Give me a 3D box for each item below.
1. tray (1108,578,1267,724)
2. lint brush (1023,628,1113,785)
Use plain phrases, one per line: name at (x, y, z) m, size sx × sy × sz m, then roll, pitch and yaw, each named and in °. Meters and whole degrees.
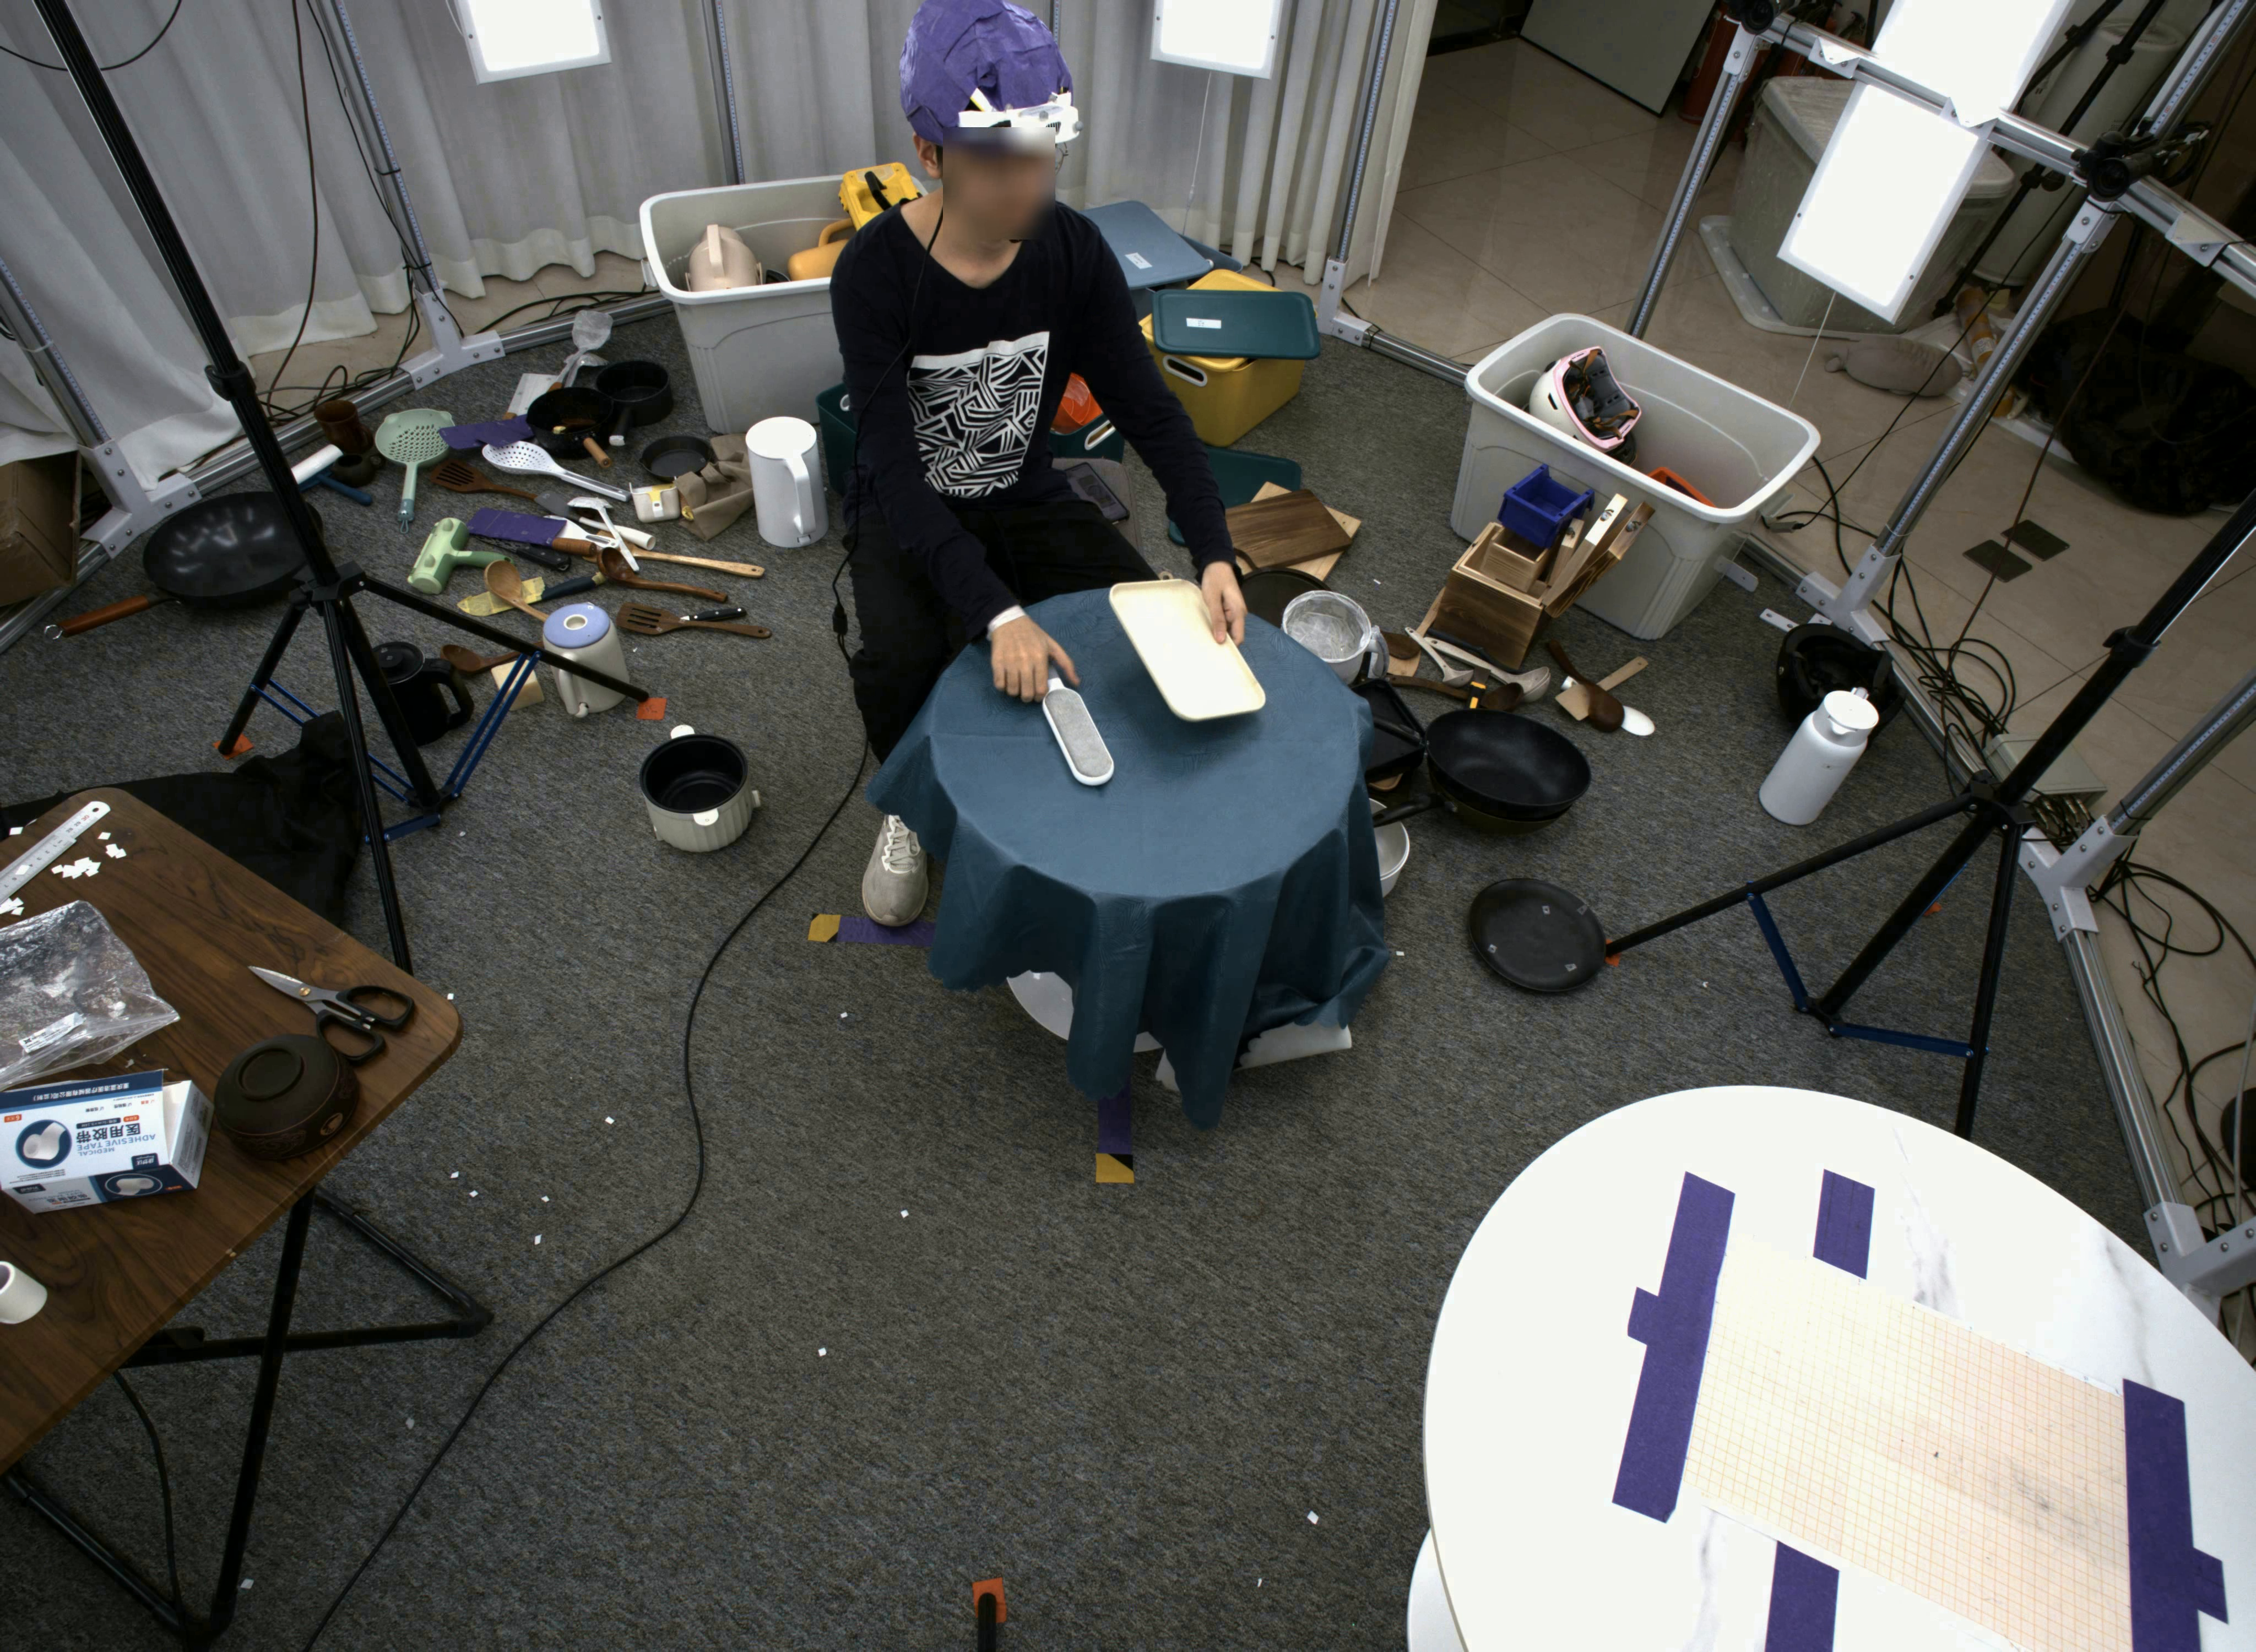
tray at (0.082, -0.247, 1.795) m, size 0.171 × 0.017 × 0.244 m, roll -13°, pitch 64°, yaw -35°
lint brush at (-0.090, -0.173, 1.793) m, size 0.060 × 0.020 × 0.316 m, roll -17°, pitch 52°, yaw -11°
